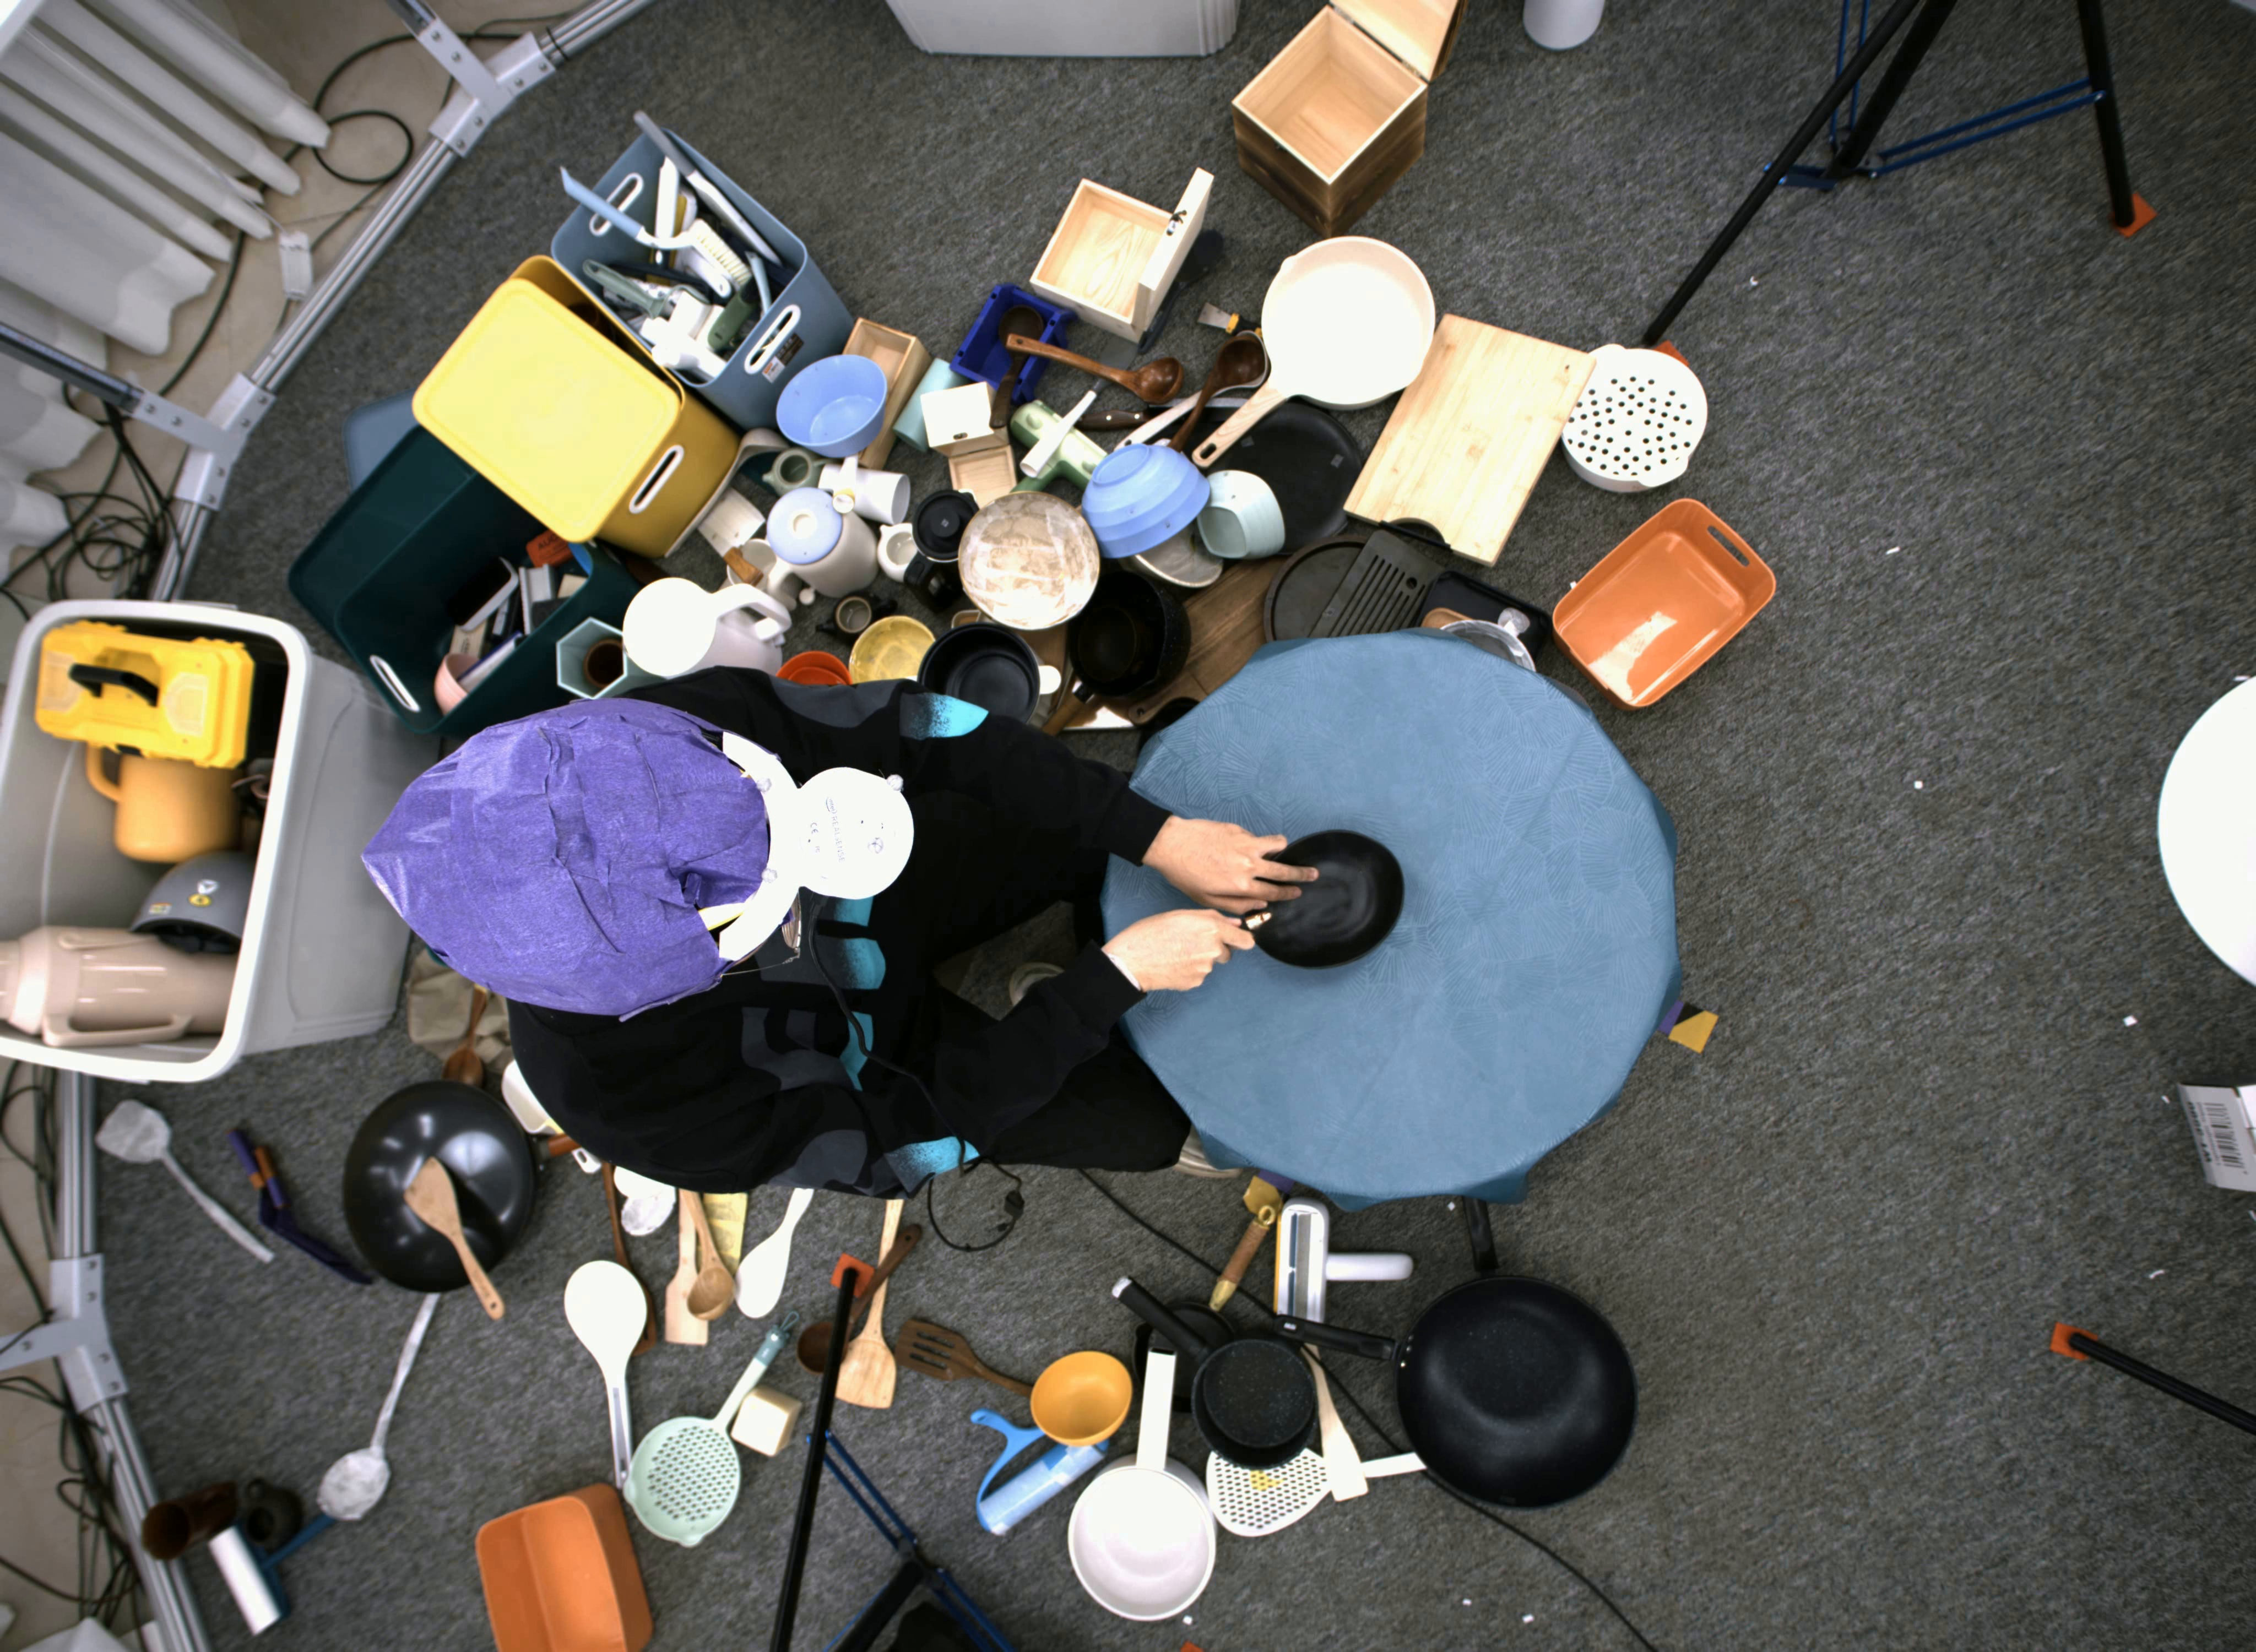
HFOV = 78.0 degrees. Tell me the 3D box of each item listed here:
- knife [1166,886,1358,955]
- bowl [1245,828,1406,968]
[{"bbox_3d":[0.138,0.092,1.397,0.223,0.026,0.017,-16,85,-24],"label":"knife"},{"bbox_3d":[0.207,0.077,1.439,0.171,0.066,0.136,-27,82,10],"label":"bowl"}]
